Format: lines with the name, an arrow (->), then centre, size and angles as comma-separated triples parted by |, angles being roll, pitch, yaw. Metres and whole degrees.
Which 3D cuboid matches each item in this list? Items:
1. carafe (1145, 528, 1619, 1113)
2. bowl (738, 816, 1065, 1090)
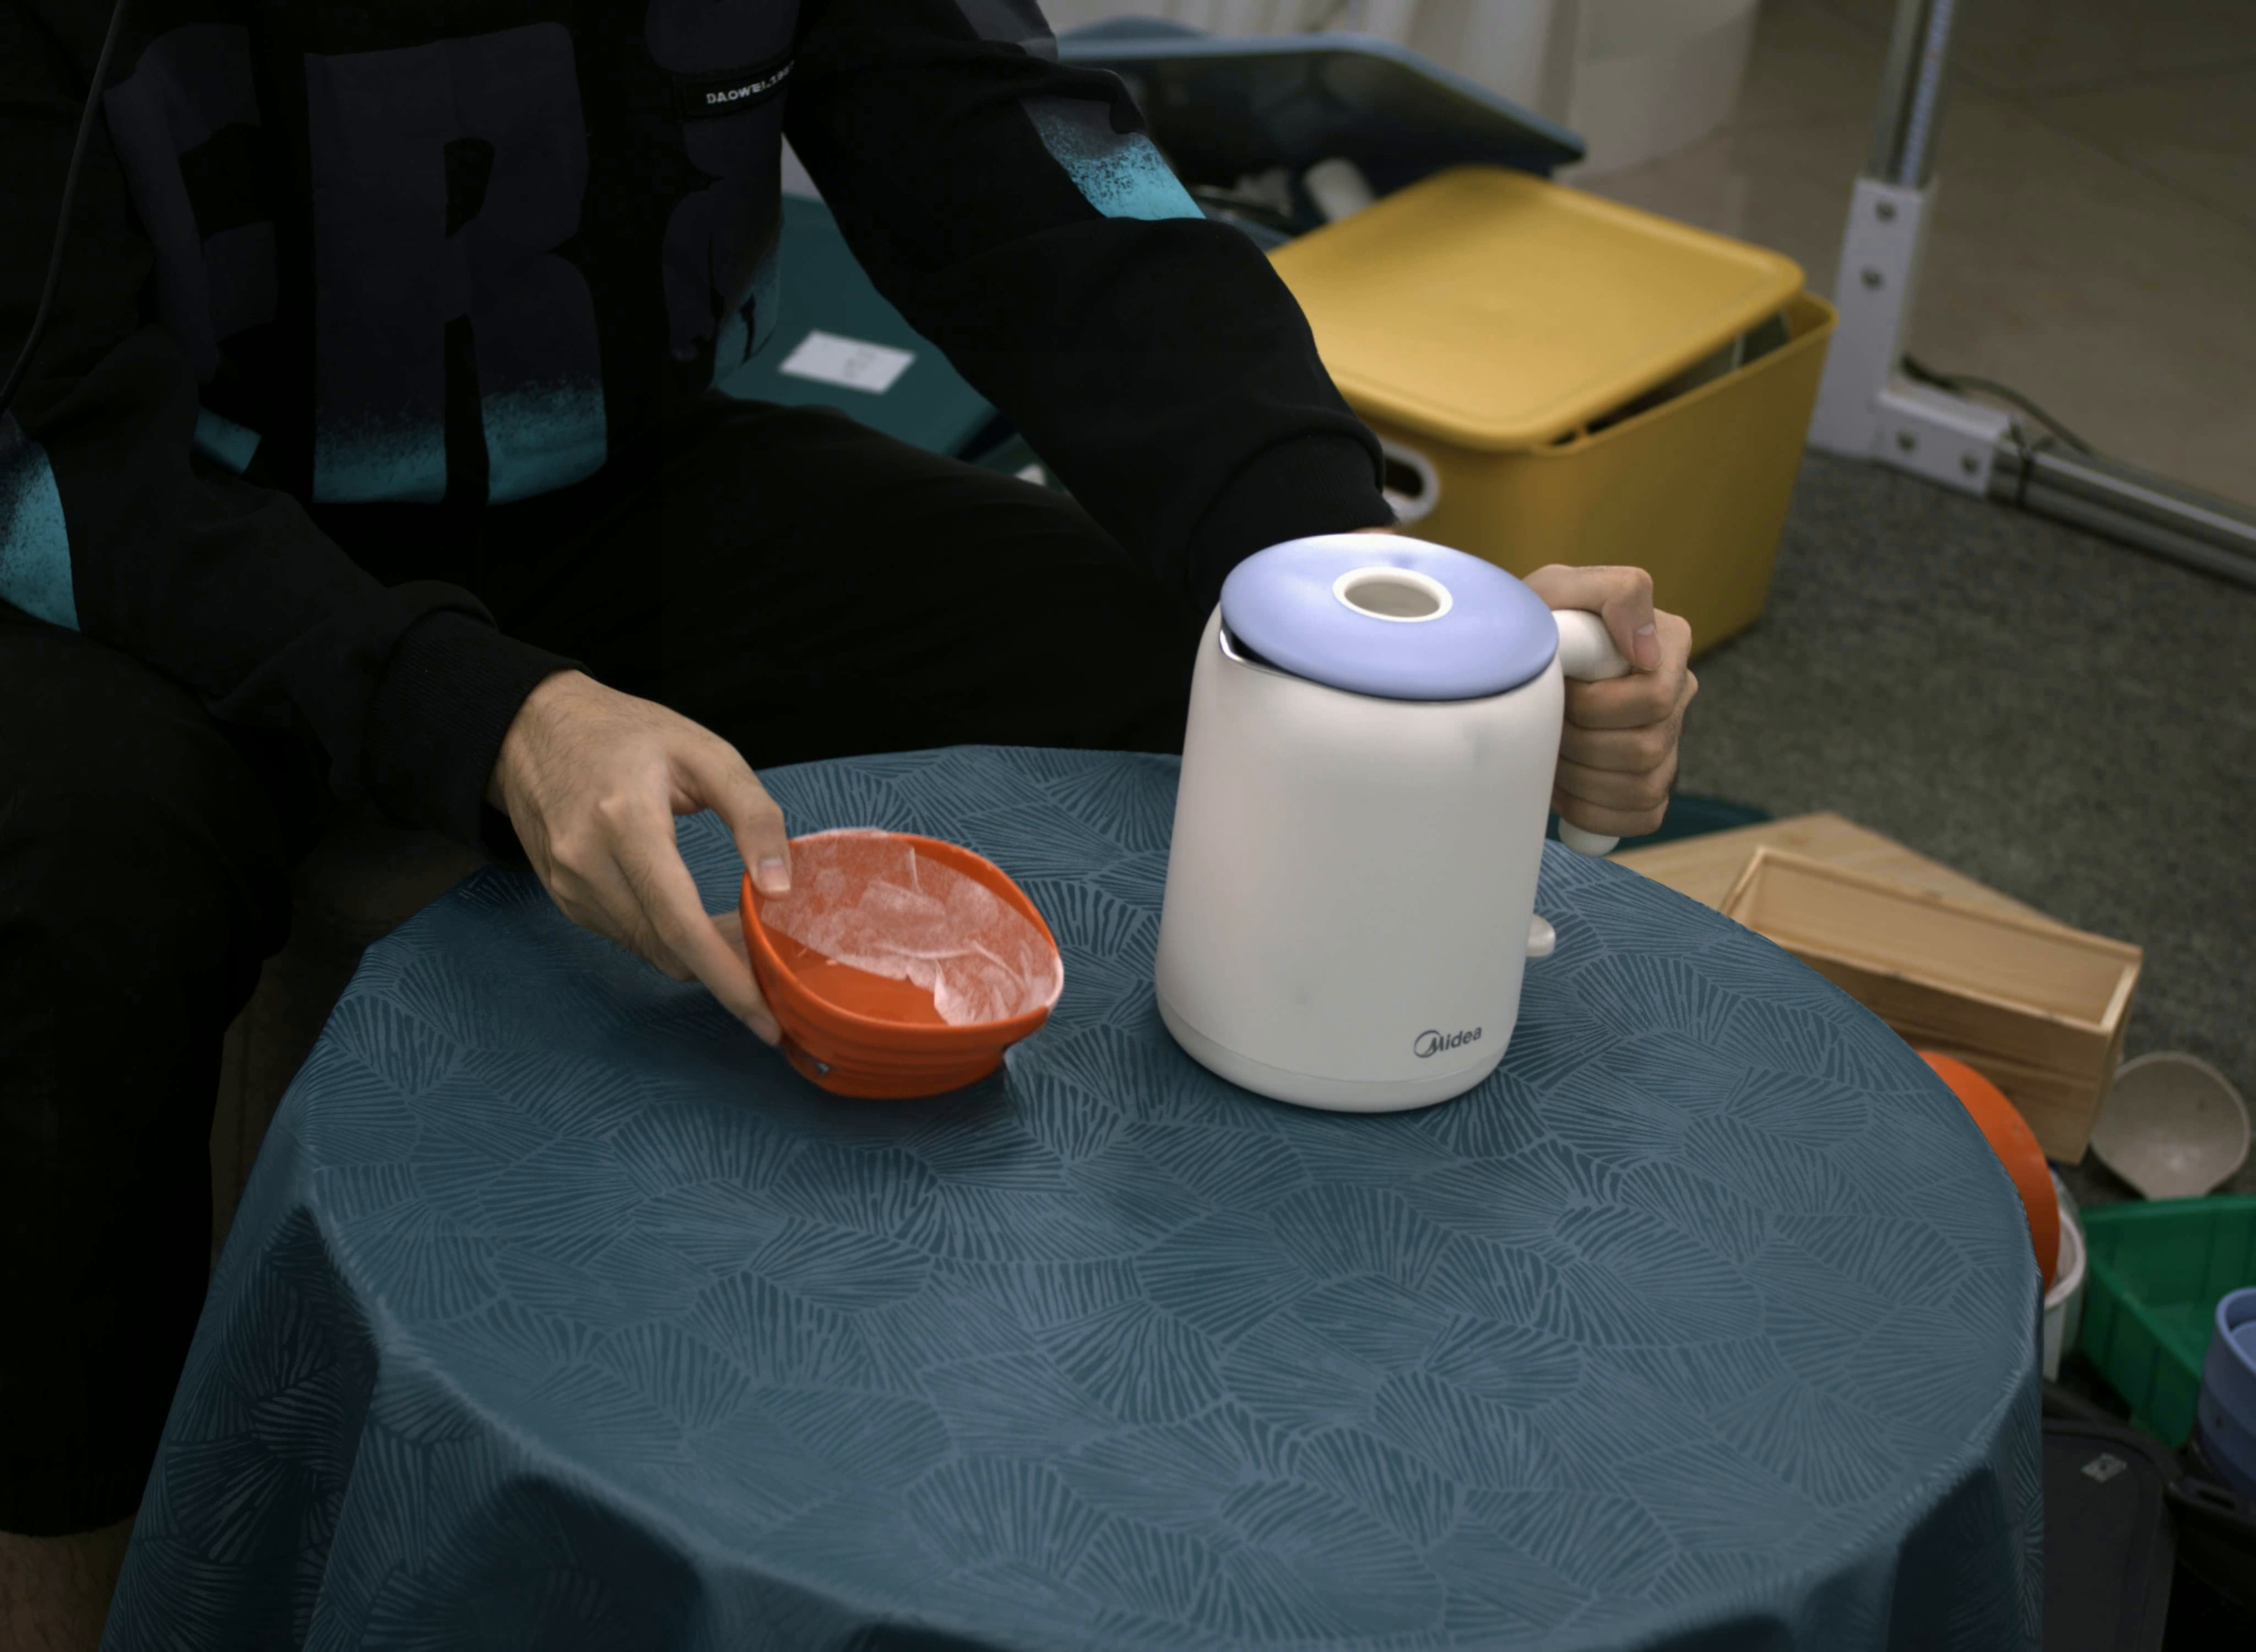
carafe -> 0.099, -0.007, 1.887 | 0.190, 0.182, 0.133 | -11, 34, -35
bowl -> -0.083, 0.050, 1.843 | 0.118, 0.051, 0.120 | 10, 37, -8
